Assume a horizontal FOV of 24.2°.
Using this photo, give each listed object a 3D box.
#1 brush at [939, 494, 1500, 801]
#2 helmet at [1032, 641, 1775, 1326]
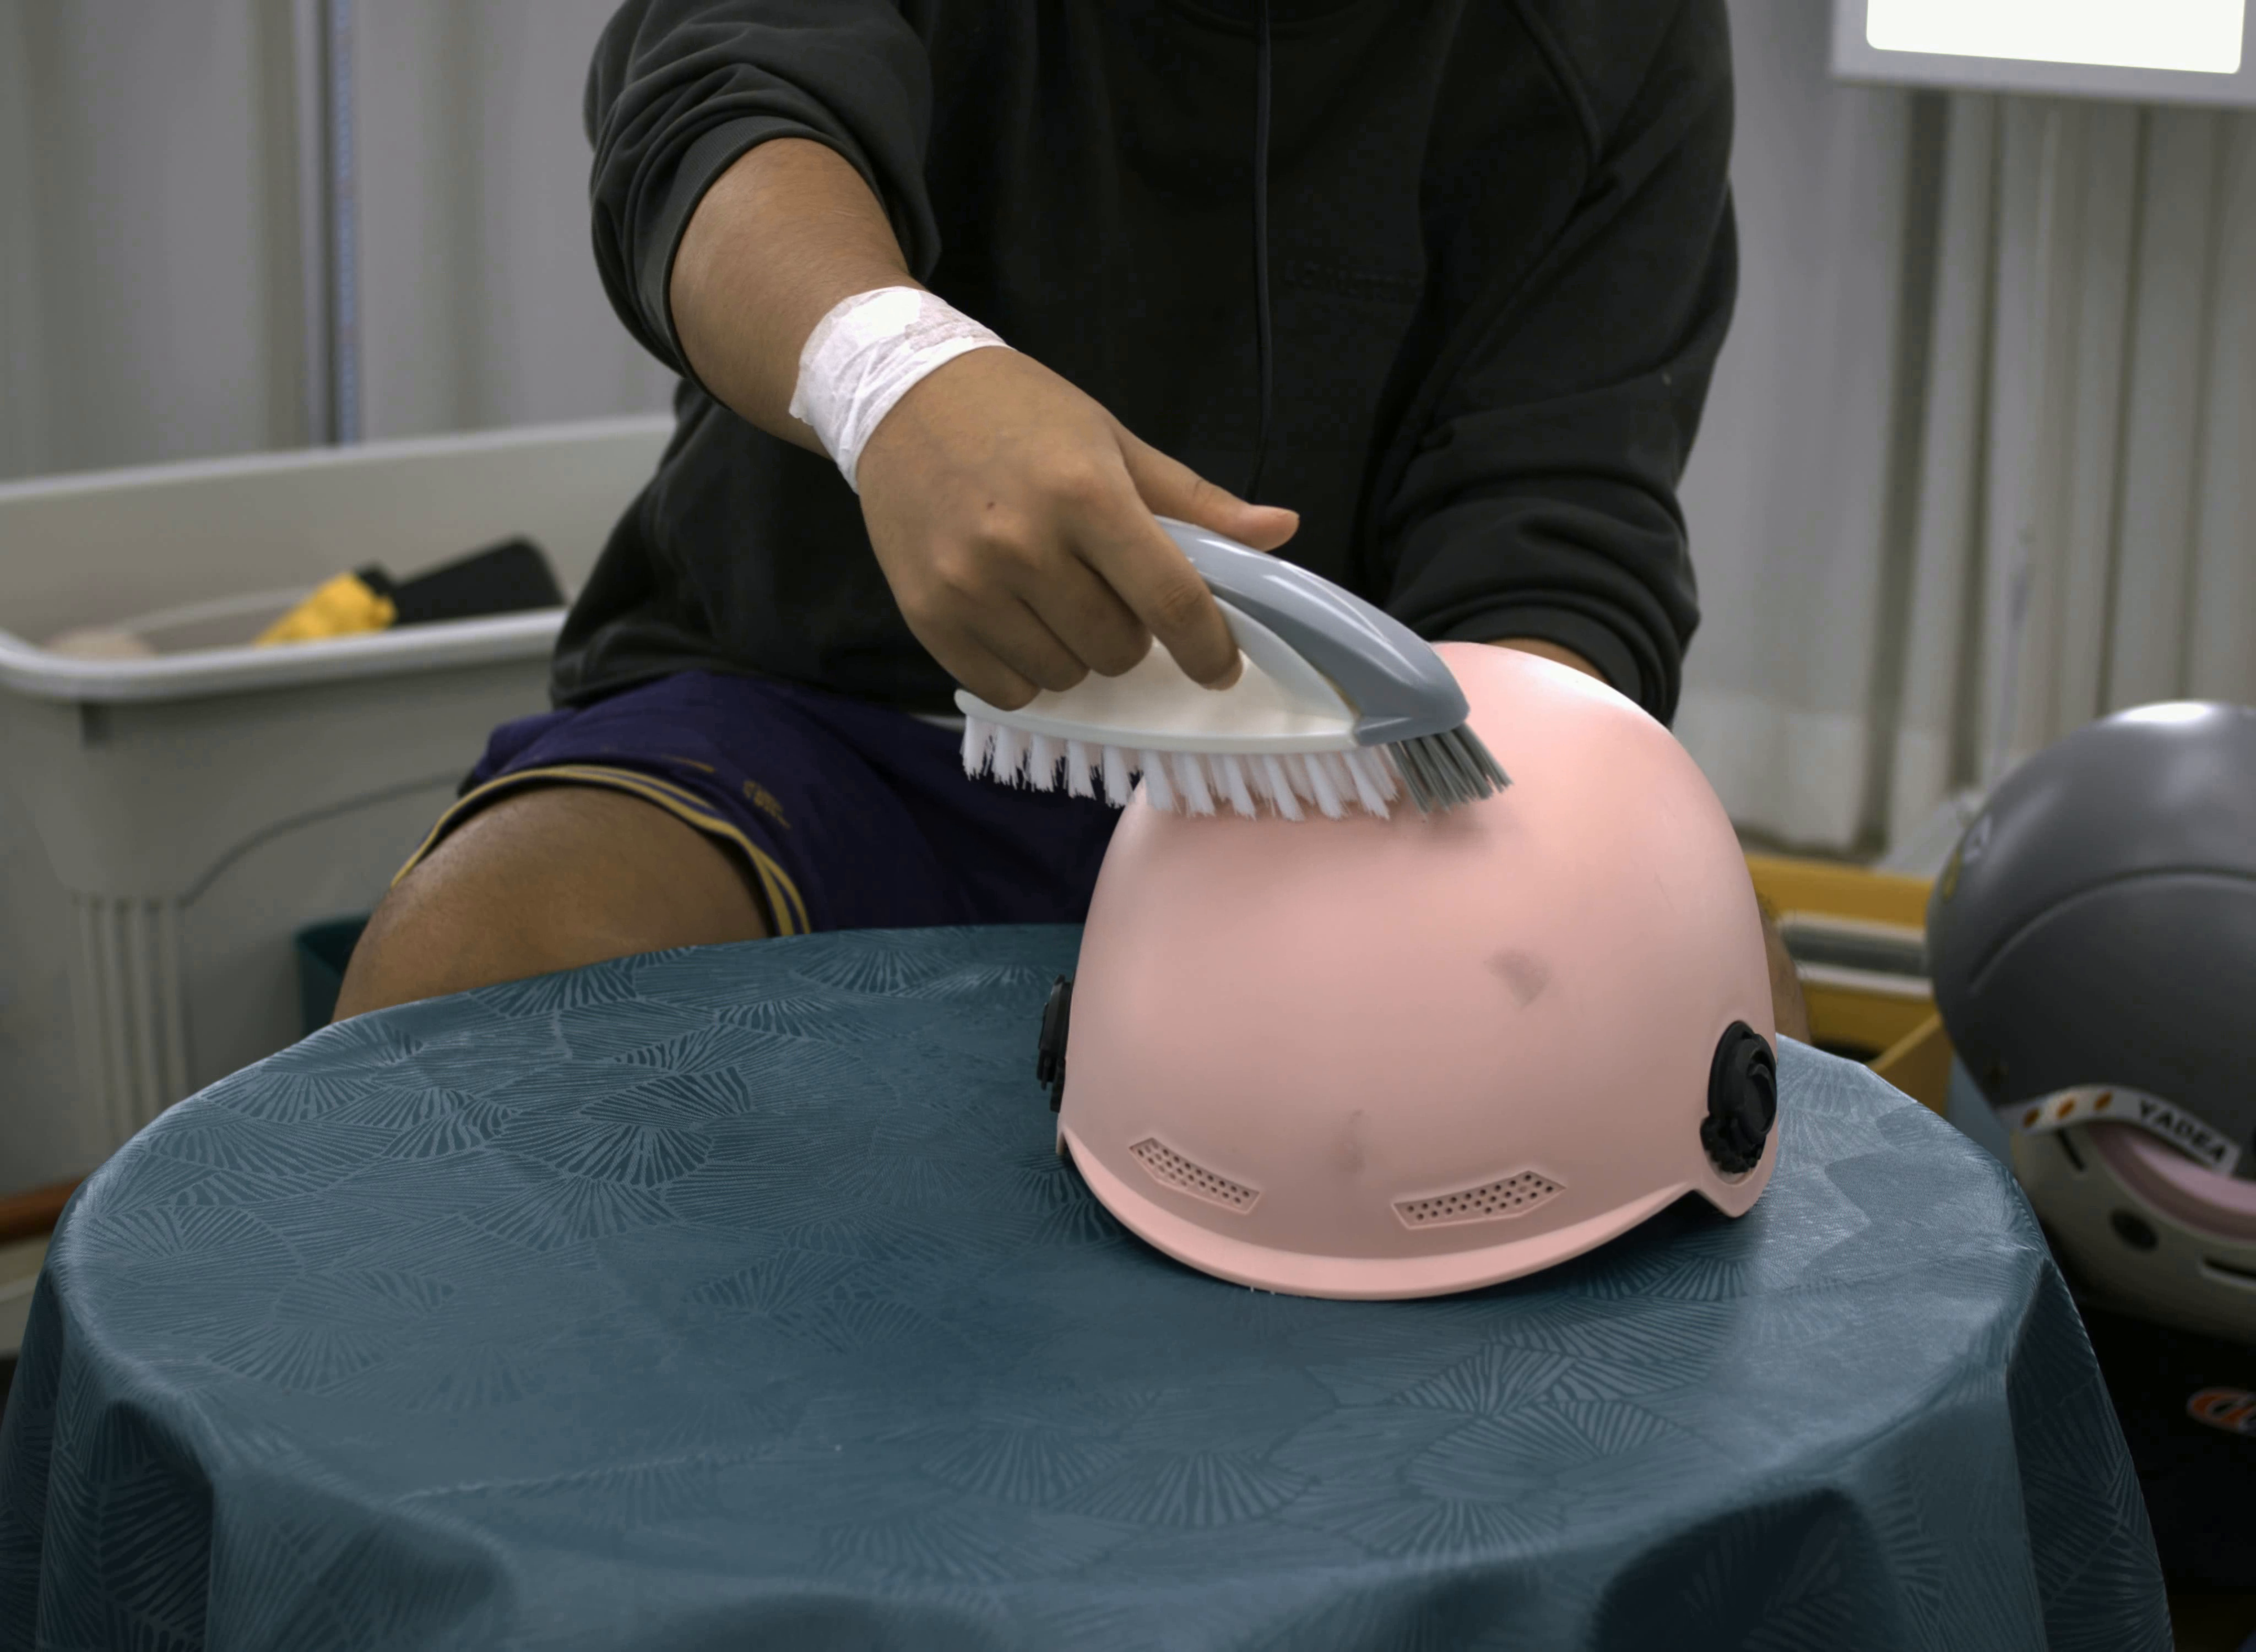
[{"bbox_3d":[0.023,-0.056,1.553,0.173,0.095,0.061,12,54,26],"label":"brush"},{"bbox_3d":[0.088,0.032,1.626,0.232,0.160,0.265,5,24,13],"label":"helmet"}]
